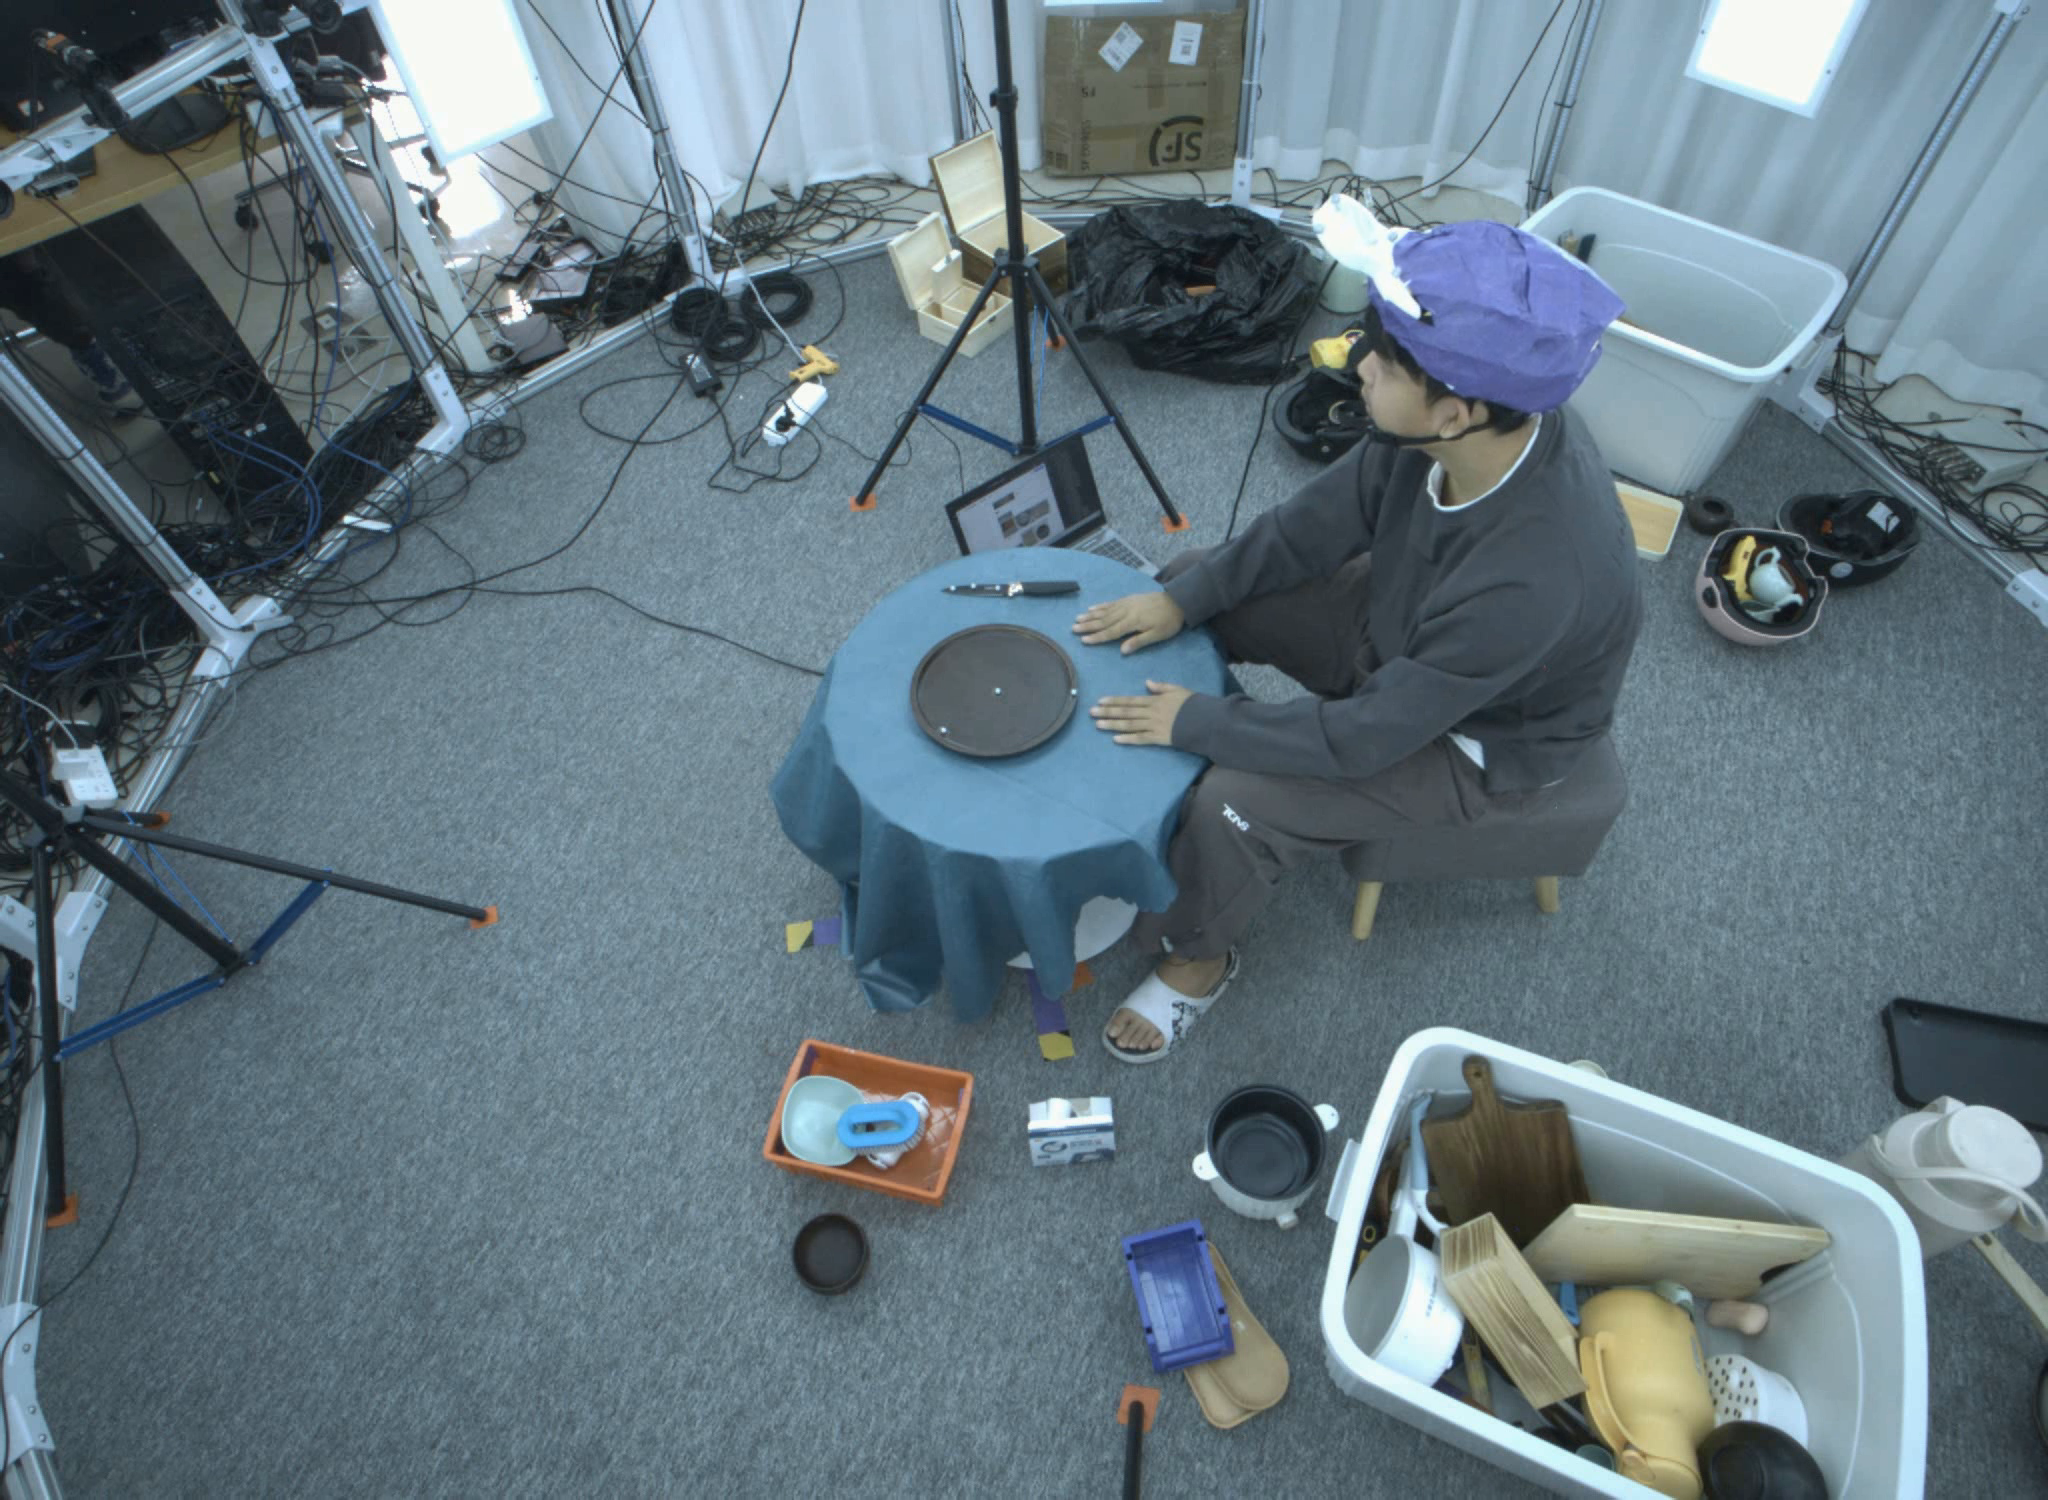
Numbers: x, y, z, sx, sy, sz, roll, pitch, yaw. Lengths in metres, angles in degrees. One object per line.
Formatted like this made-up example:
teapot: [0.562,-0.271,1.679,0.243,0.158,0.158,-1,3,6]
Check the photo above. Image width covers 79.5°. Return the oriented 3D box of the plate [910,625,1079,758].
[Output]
plate: [-0.044,-0.090,1.838,0.255,0.029,0.252,1,54,0]

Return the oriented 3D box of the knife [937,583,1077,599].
knife: [-0.028,-0.254,1.961,0.225,0.017,0.026,1,60,3]
